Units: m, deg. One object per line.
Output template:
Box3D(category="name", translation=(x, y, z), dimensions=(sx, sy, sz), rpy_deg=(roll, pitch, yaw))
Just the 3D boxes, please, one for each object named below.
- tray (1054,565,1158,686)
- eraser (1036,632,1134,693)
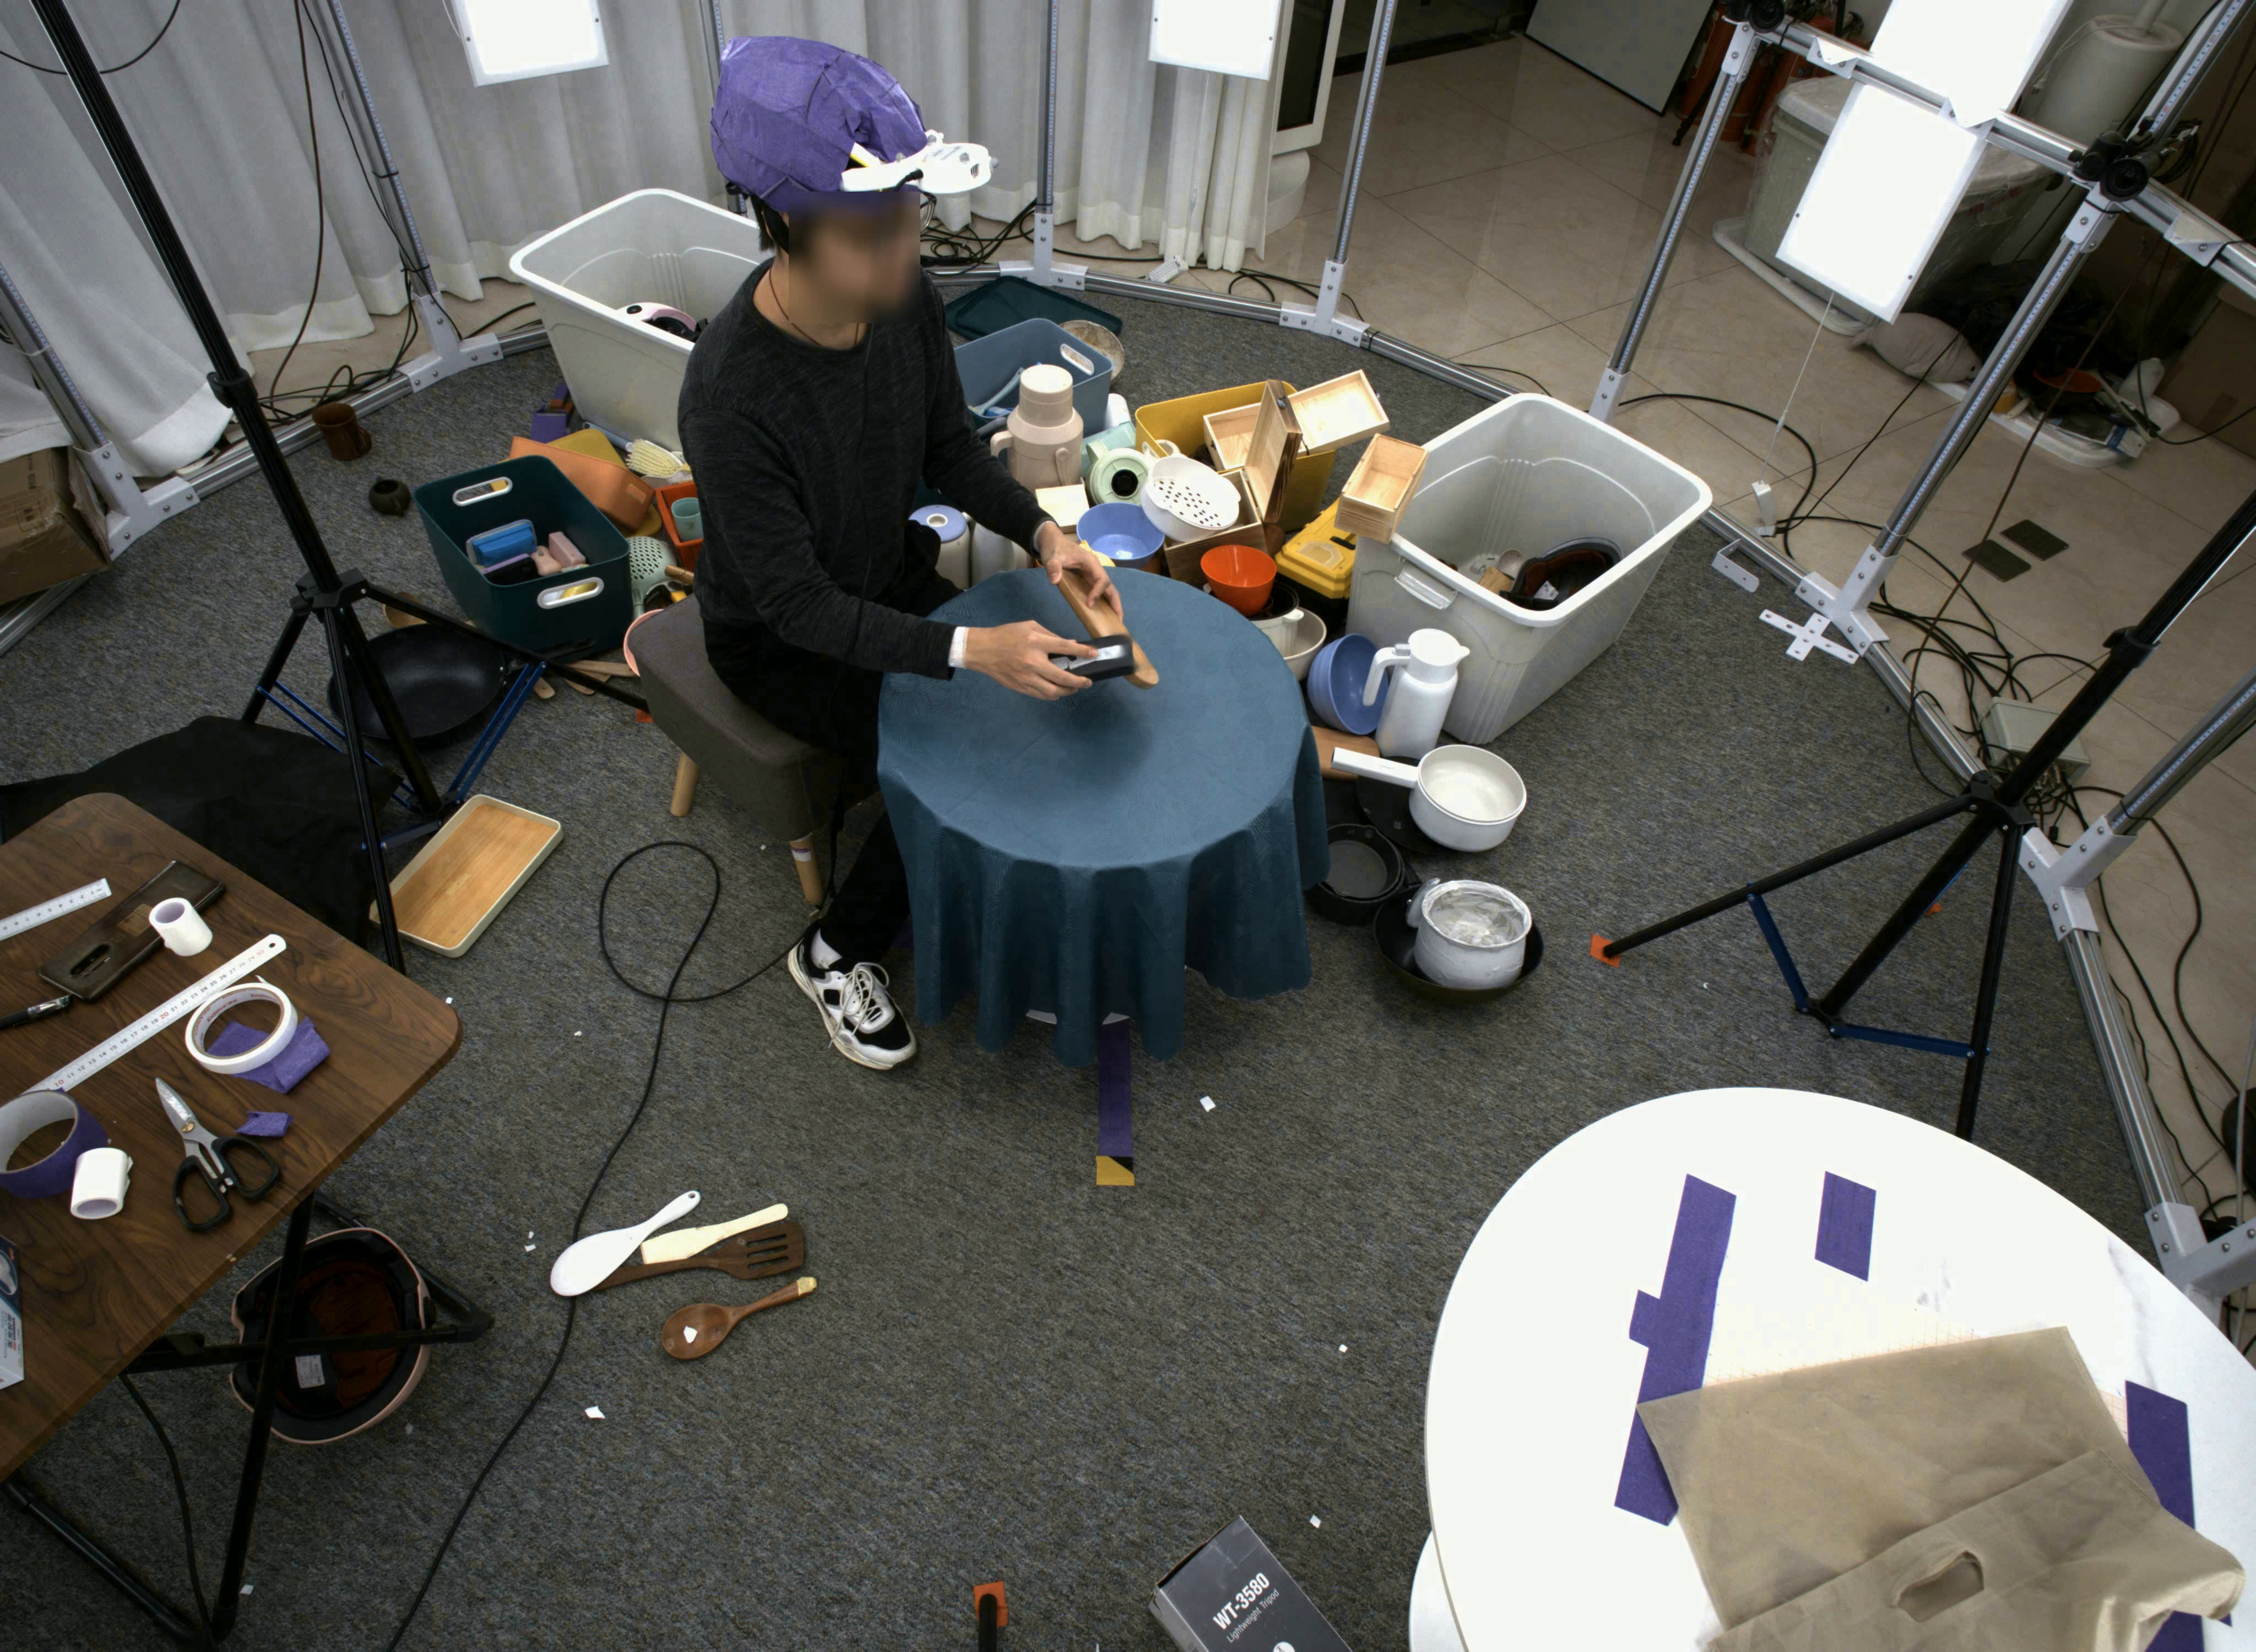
Box3D(category="tray", translation=(-0.032, -0.278, 1.778), dimensions=(0.100, 0.020, 0.236), rpy_deg=(18, 32, -54))
Box3D(category="eraser", translation=(-0.055, -0.215, 1.684), dimensions=(0.125, 0.030, 0.054), rpy_deg=(-13, 70, 6))
